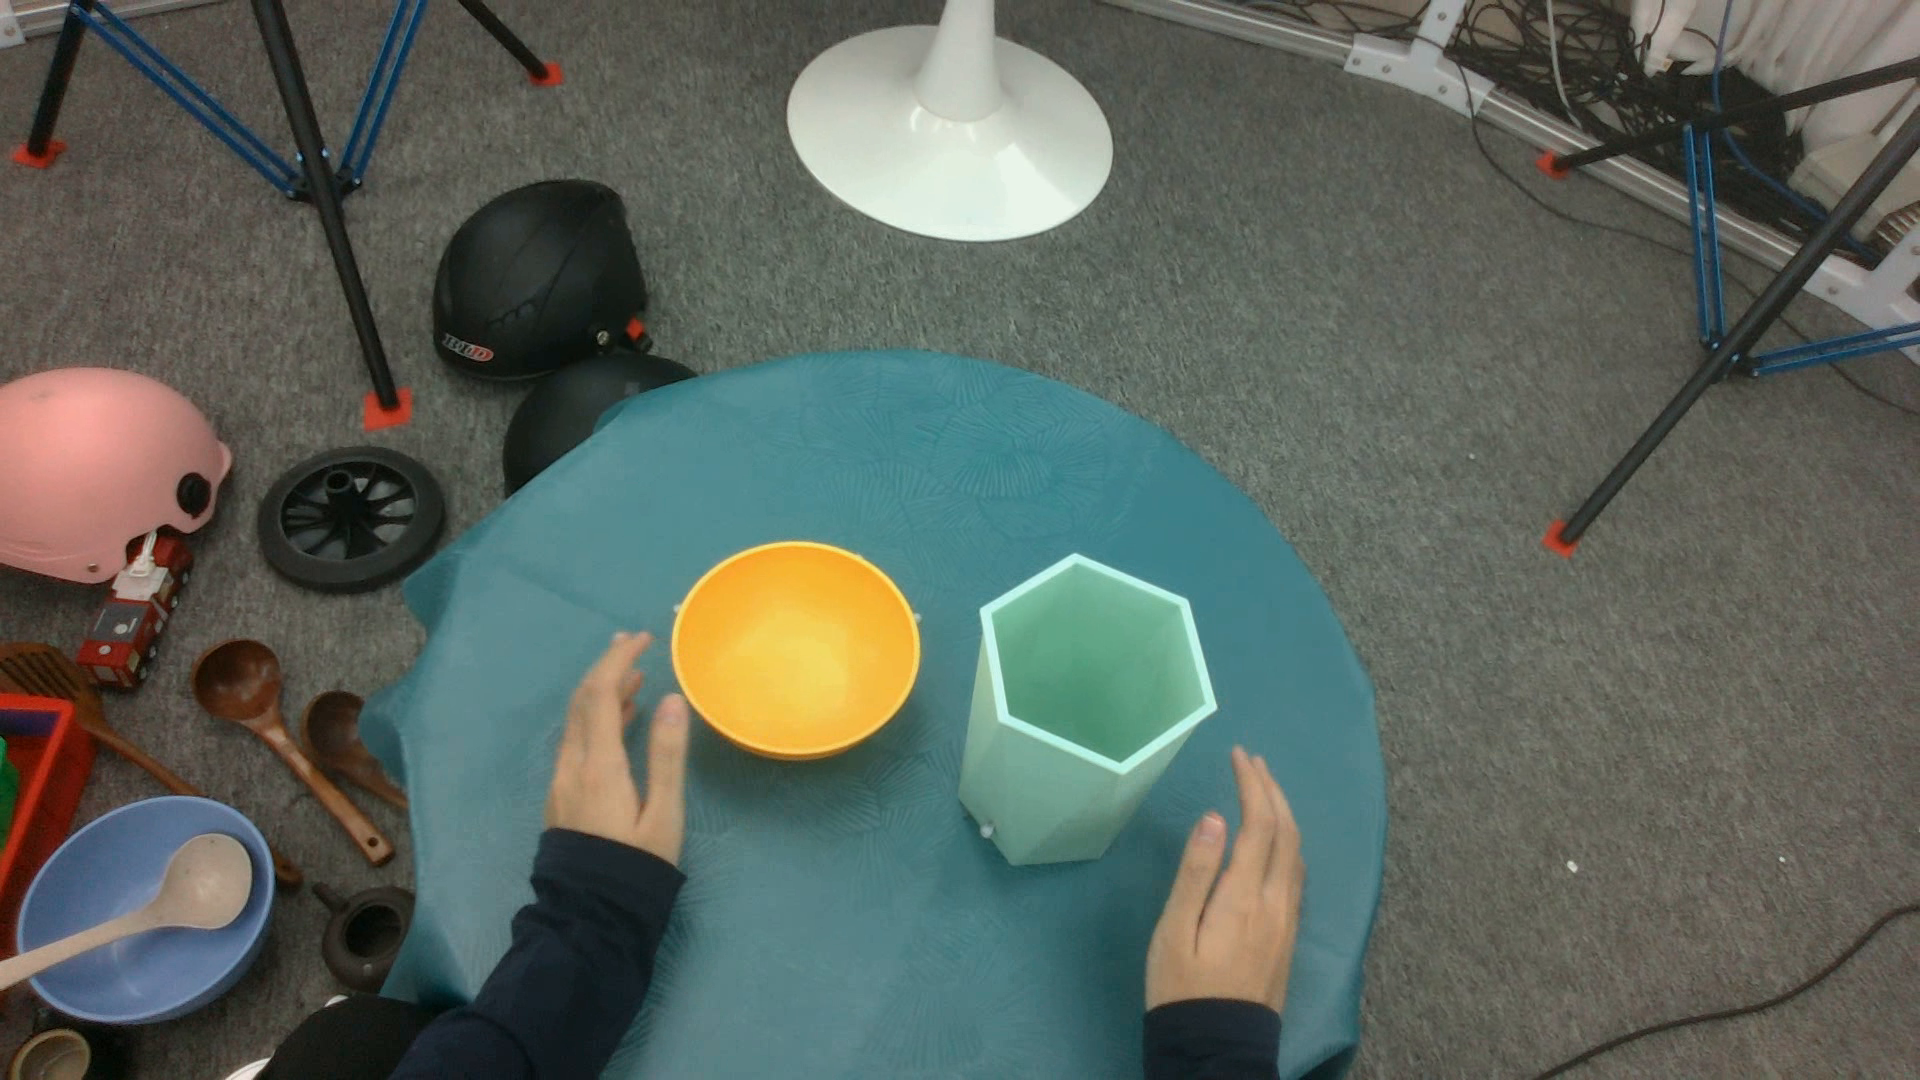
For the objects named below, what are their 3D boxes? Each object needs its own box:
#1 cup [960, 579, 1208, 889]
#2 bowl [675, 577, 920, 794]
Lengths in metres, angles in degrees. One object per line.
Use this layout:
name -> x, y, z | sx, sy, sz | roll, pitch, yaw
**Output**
cup -> 0.059, 0.120, 0.779 | 0.131, 0.162, 0.116 | 20, 54, 7
bowl -> -0.098, 0.097, 0.840 | 0.145, 0.060, 0.146 | 3, 54, -4
